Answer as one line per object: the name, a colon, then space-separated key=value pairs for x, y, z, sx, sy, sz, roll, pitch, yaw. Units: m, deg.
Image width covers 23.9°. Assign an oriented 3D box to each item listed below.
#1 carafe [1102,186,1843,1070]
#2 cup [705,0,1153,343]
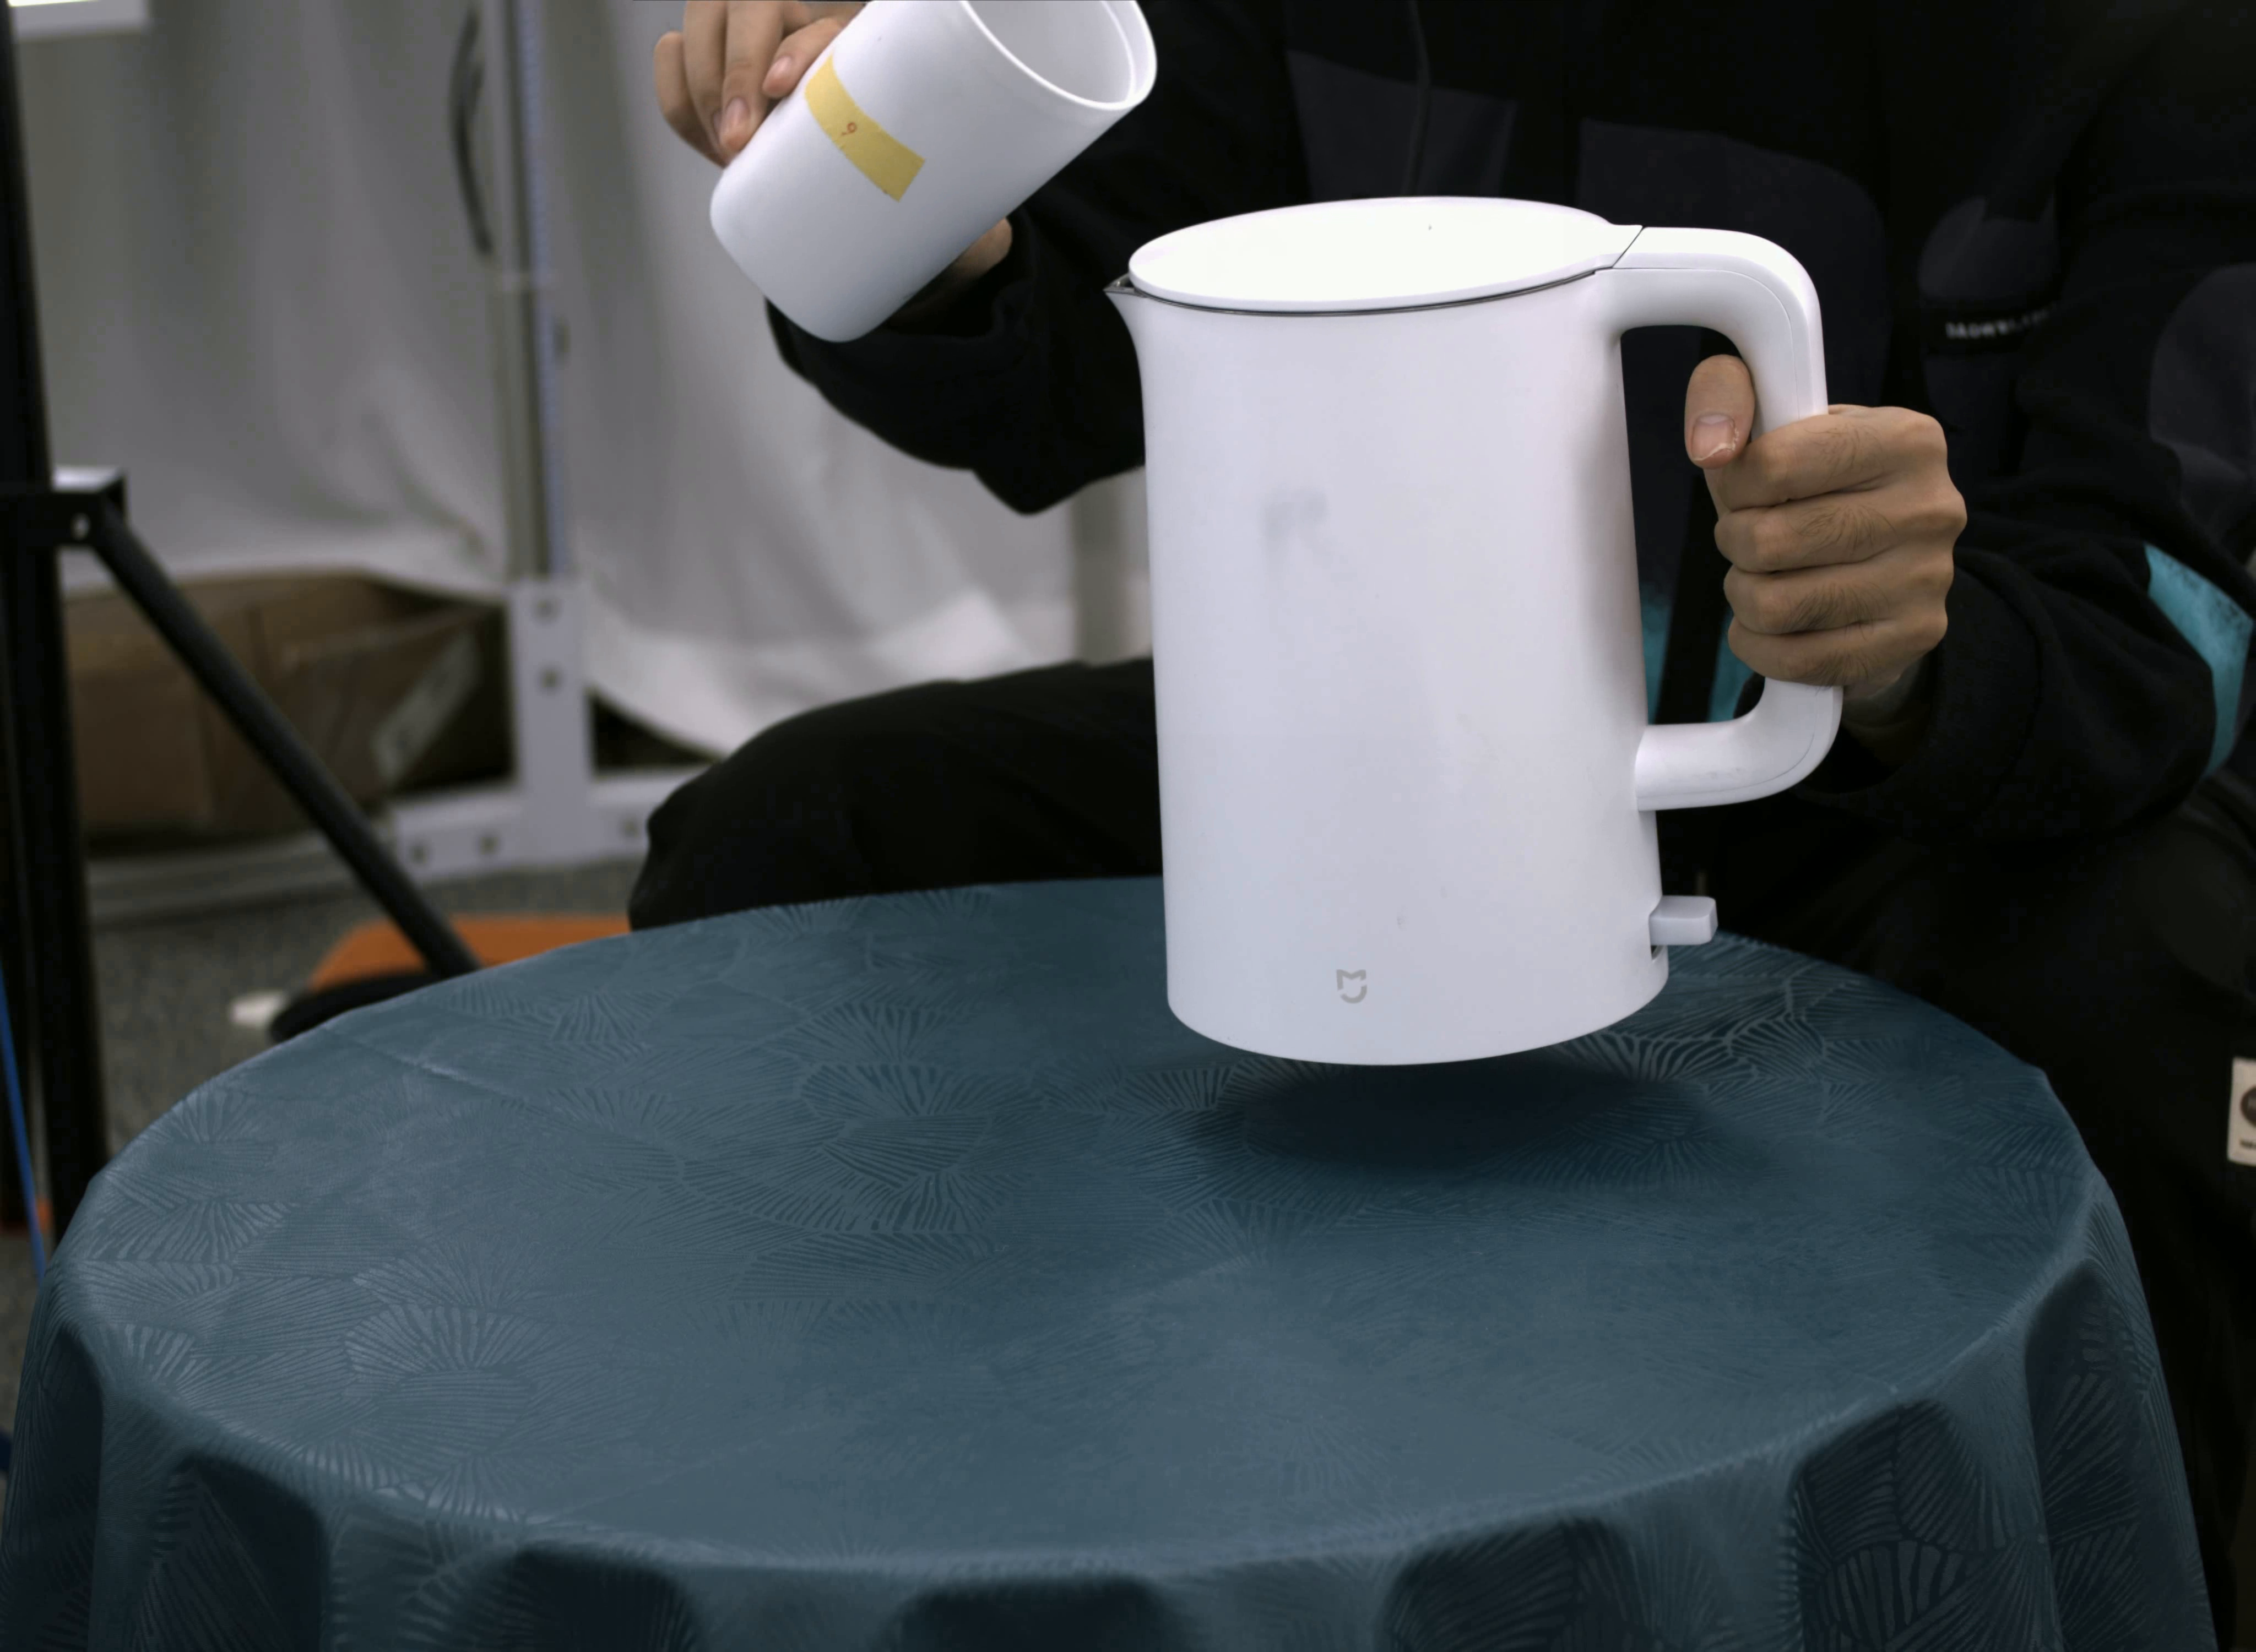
carafe: x=0.104 y=-0.060 z=1.571 sx=0.215 sy=0.240 sz=0.151 roll=0 pitch=18 yaw=17
cup: x=-0.062 y=-0.209 z=1.598 sx=0.127 sy=0.082 sz=0.080 roll=-41 pitch=-10 yaw=35
